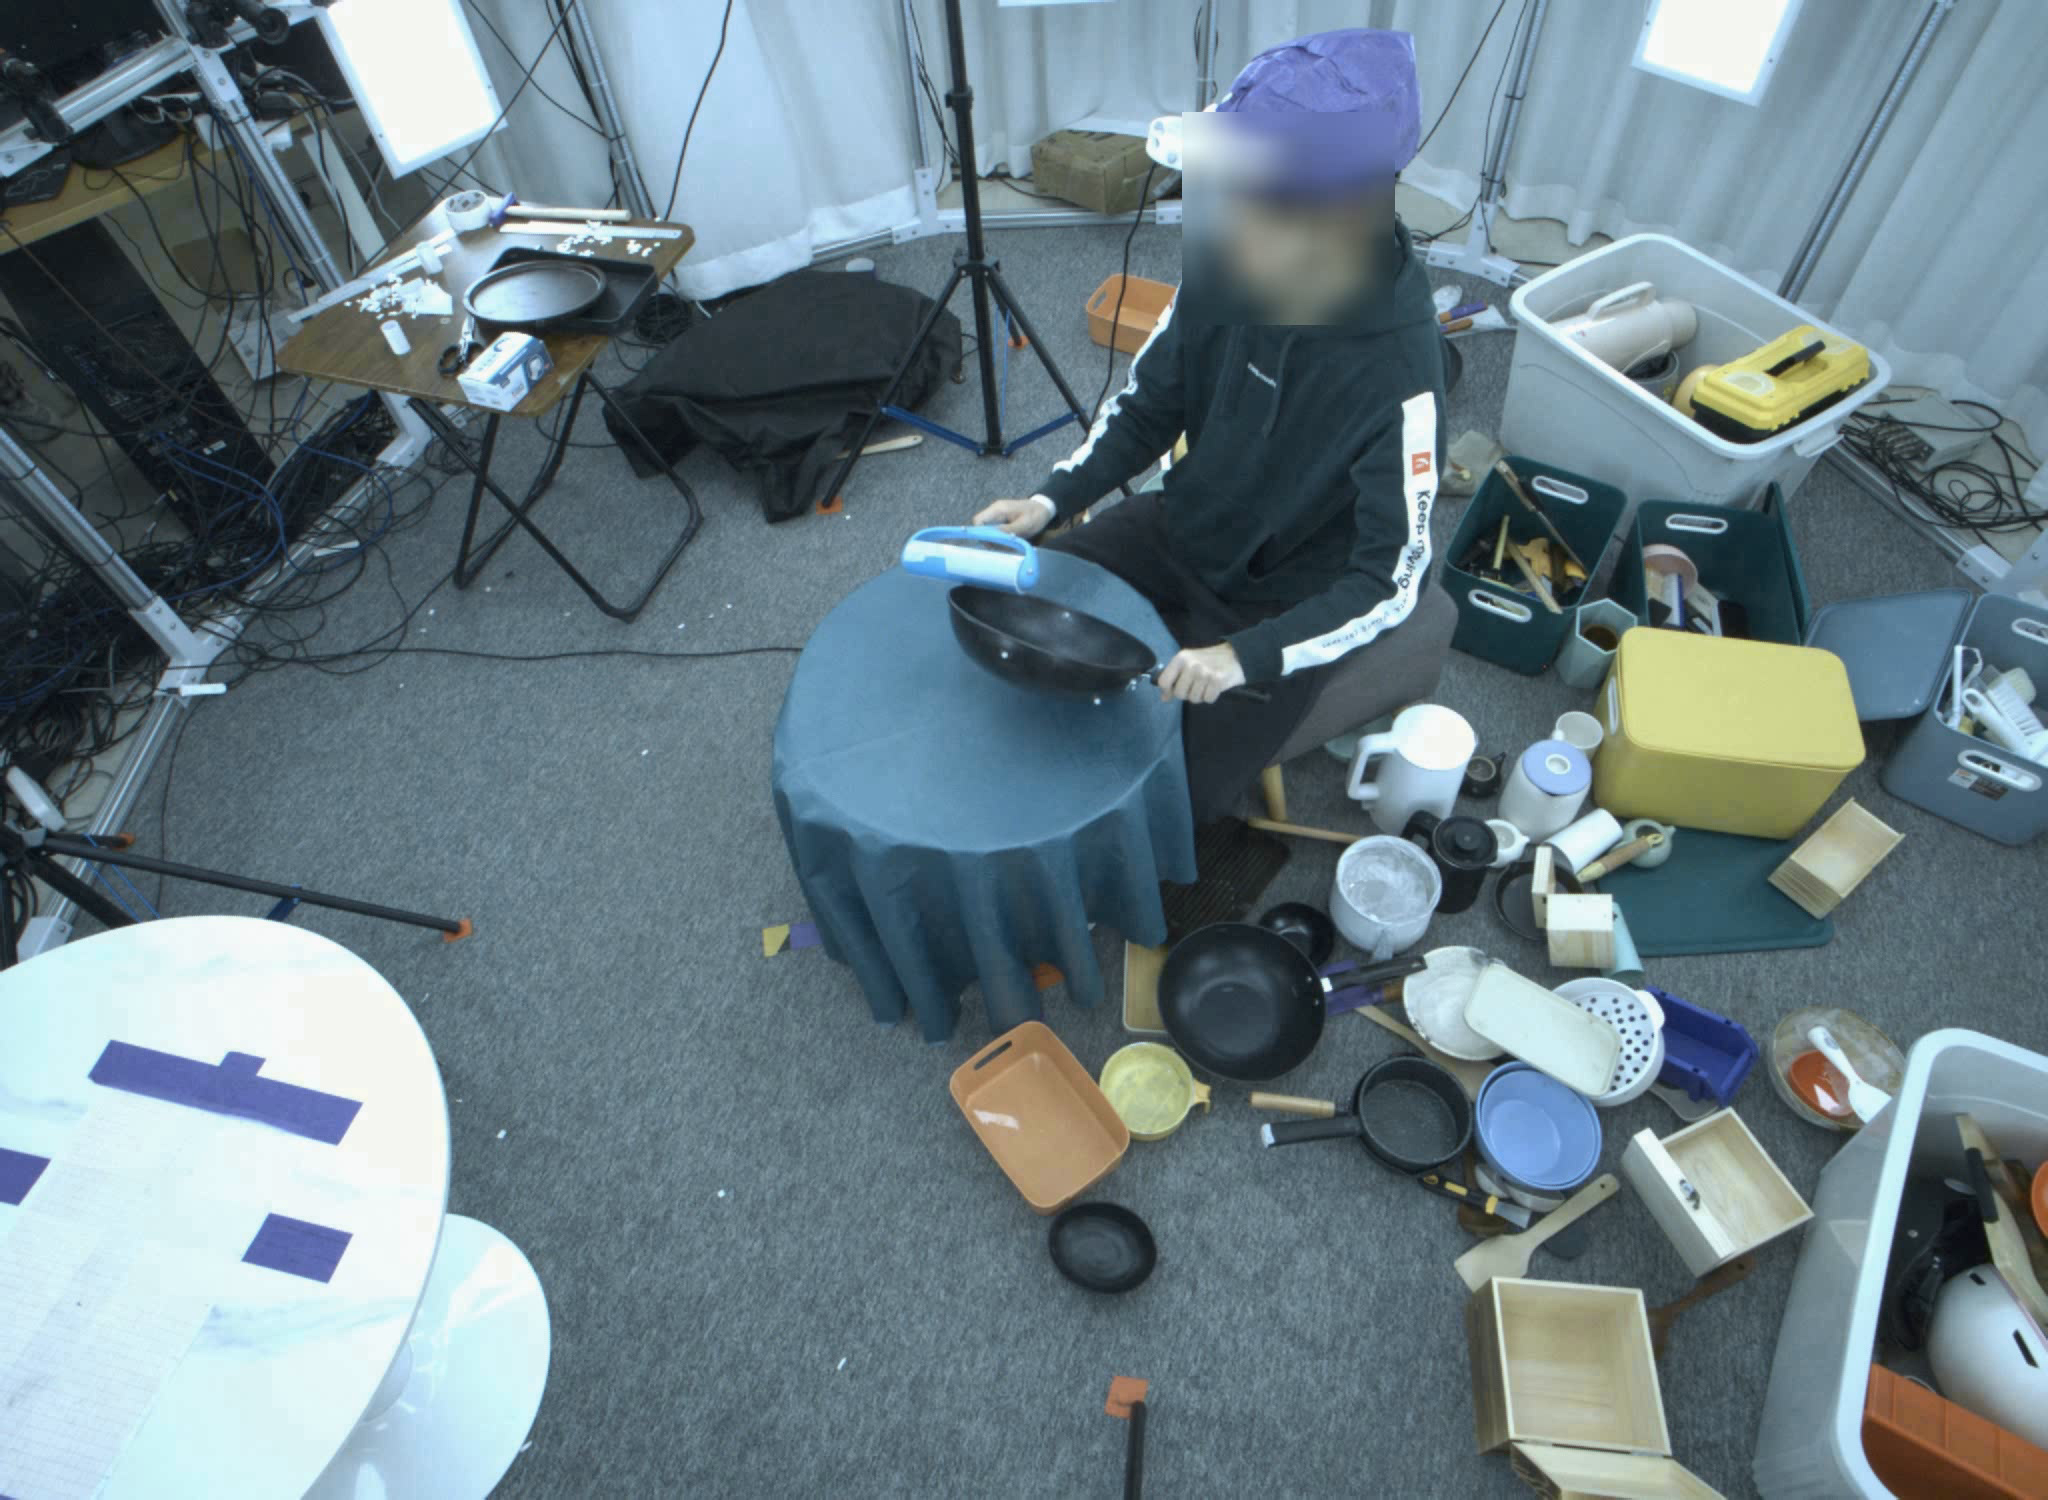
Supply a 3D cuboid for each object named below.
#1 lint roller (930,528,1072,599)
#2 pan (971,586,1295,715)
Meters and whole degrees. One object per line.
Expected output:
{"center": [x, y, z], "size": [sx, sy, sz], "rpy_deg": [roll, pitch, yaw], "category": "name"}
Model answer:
{"center": [-0.009, -0.292, 1.796], "size": [0.225, 0.069, 0.181], "rpy_deg": [11, 40, 26], "category": "lint roller"}
{"center": [0.137, -0.109, 1.703], "size": [0.471, 0.112, 0.314], "rpy_deg": [26, 22, 17], "category": "pan"}
